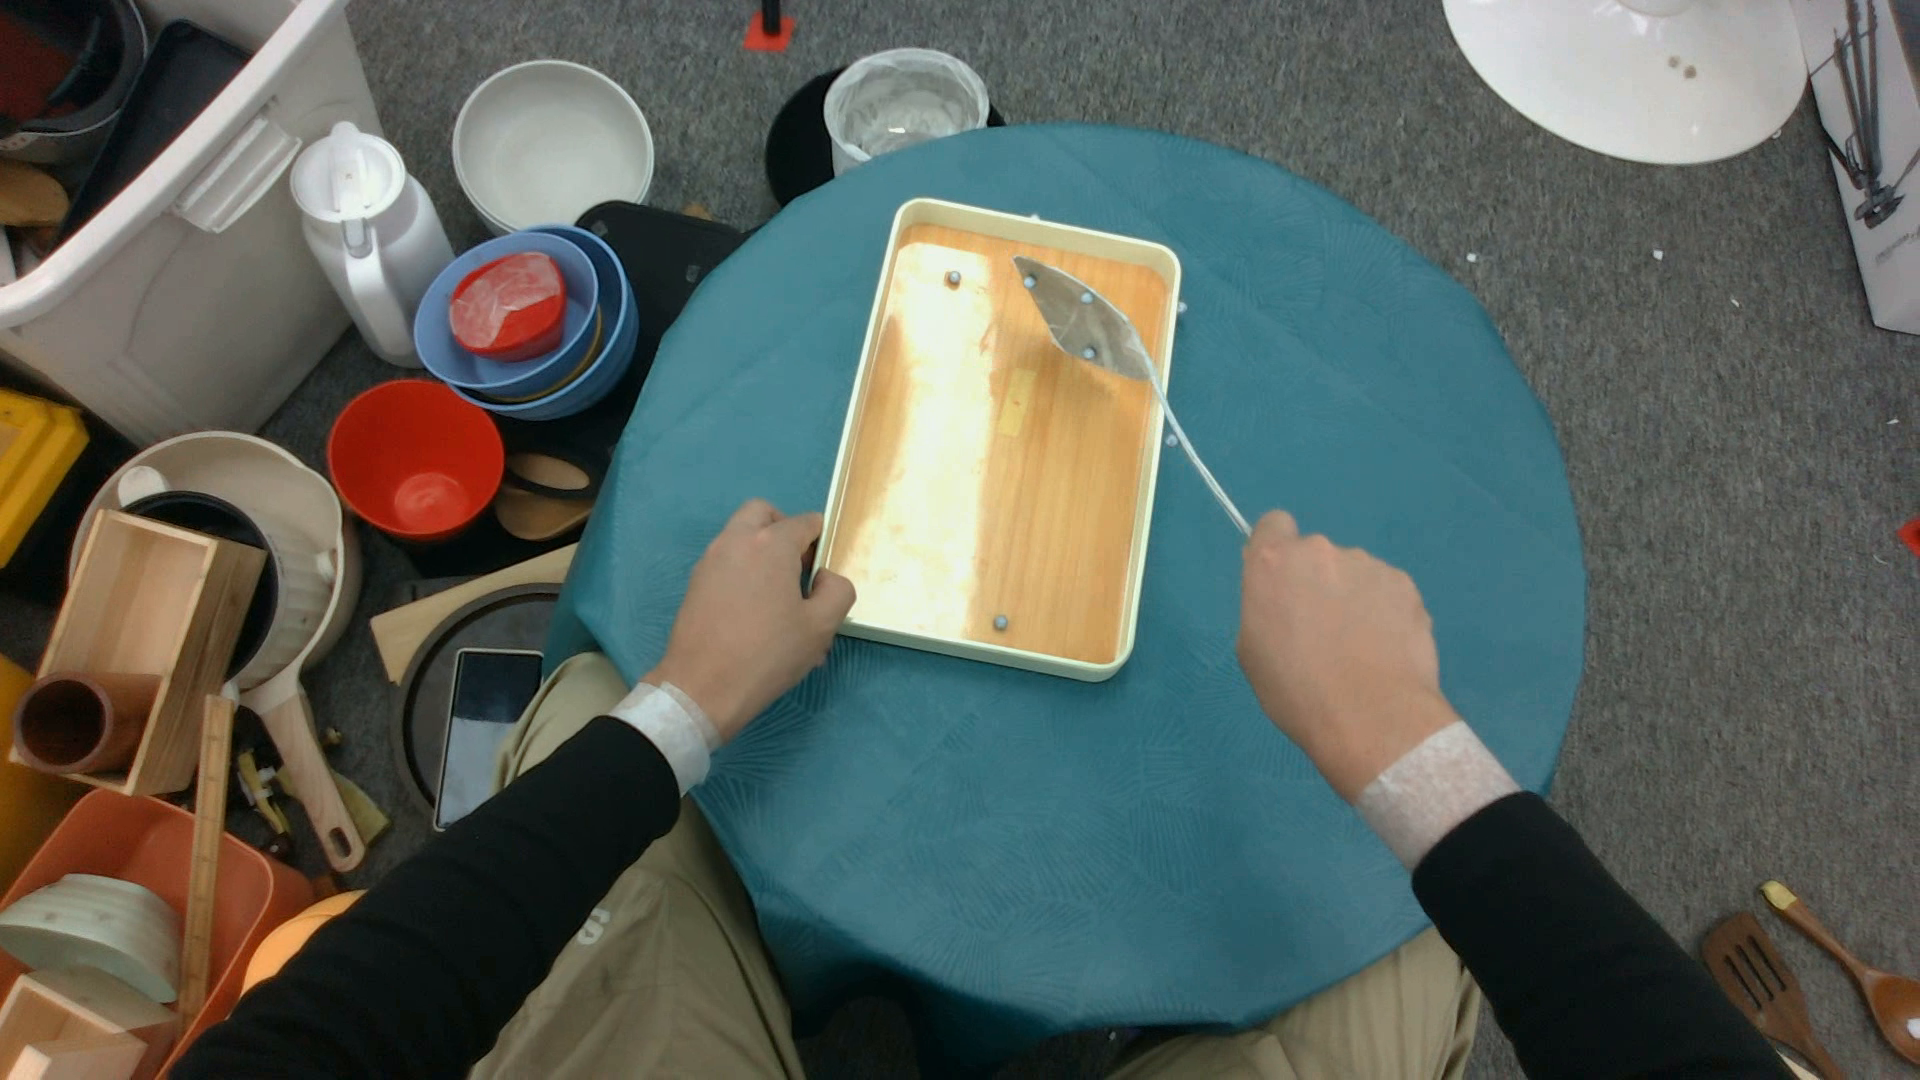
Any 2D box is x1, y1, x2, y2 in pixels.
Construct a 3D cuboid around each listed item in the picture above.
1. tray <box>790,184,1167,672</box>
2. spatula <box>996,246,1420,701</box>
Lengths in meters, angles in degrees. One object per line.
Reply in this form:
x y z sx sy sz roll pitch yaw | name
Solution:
0.018 -0.077 0.846 0.191 0.027 0.301 12 66 -2 | tray
0.120 -0.044 0.743 0.045 0.098 0.366 -31 52 2 | spatula
